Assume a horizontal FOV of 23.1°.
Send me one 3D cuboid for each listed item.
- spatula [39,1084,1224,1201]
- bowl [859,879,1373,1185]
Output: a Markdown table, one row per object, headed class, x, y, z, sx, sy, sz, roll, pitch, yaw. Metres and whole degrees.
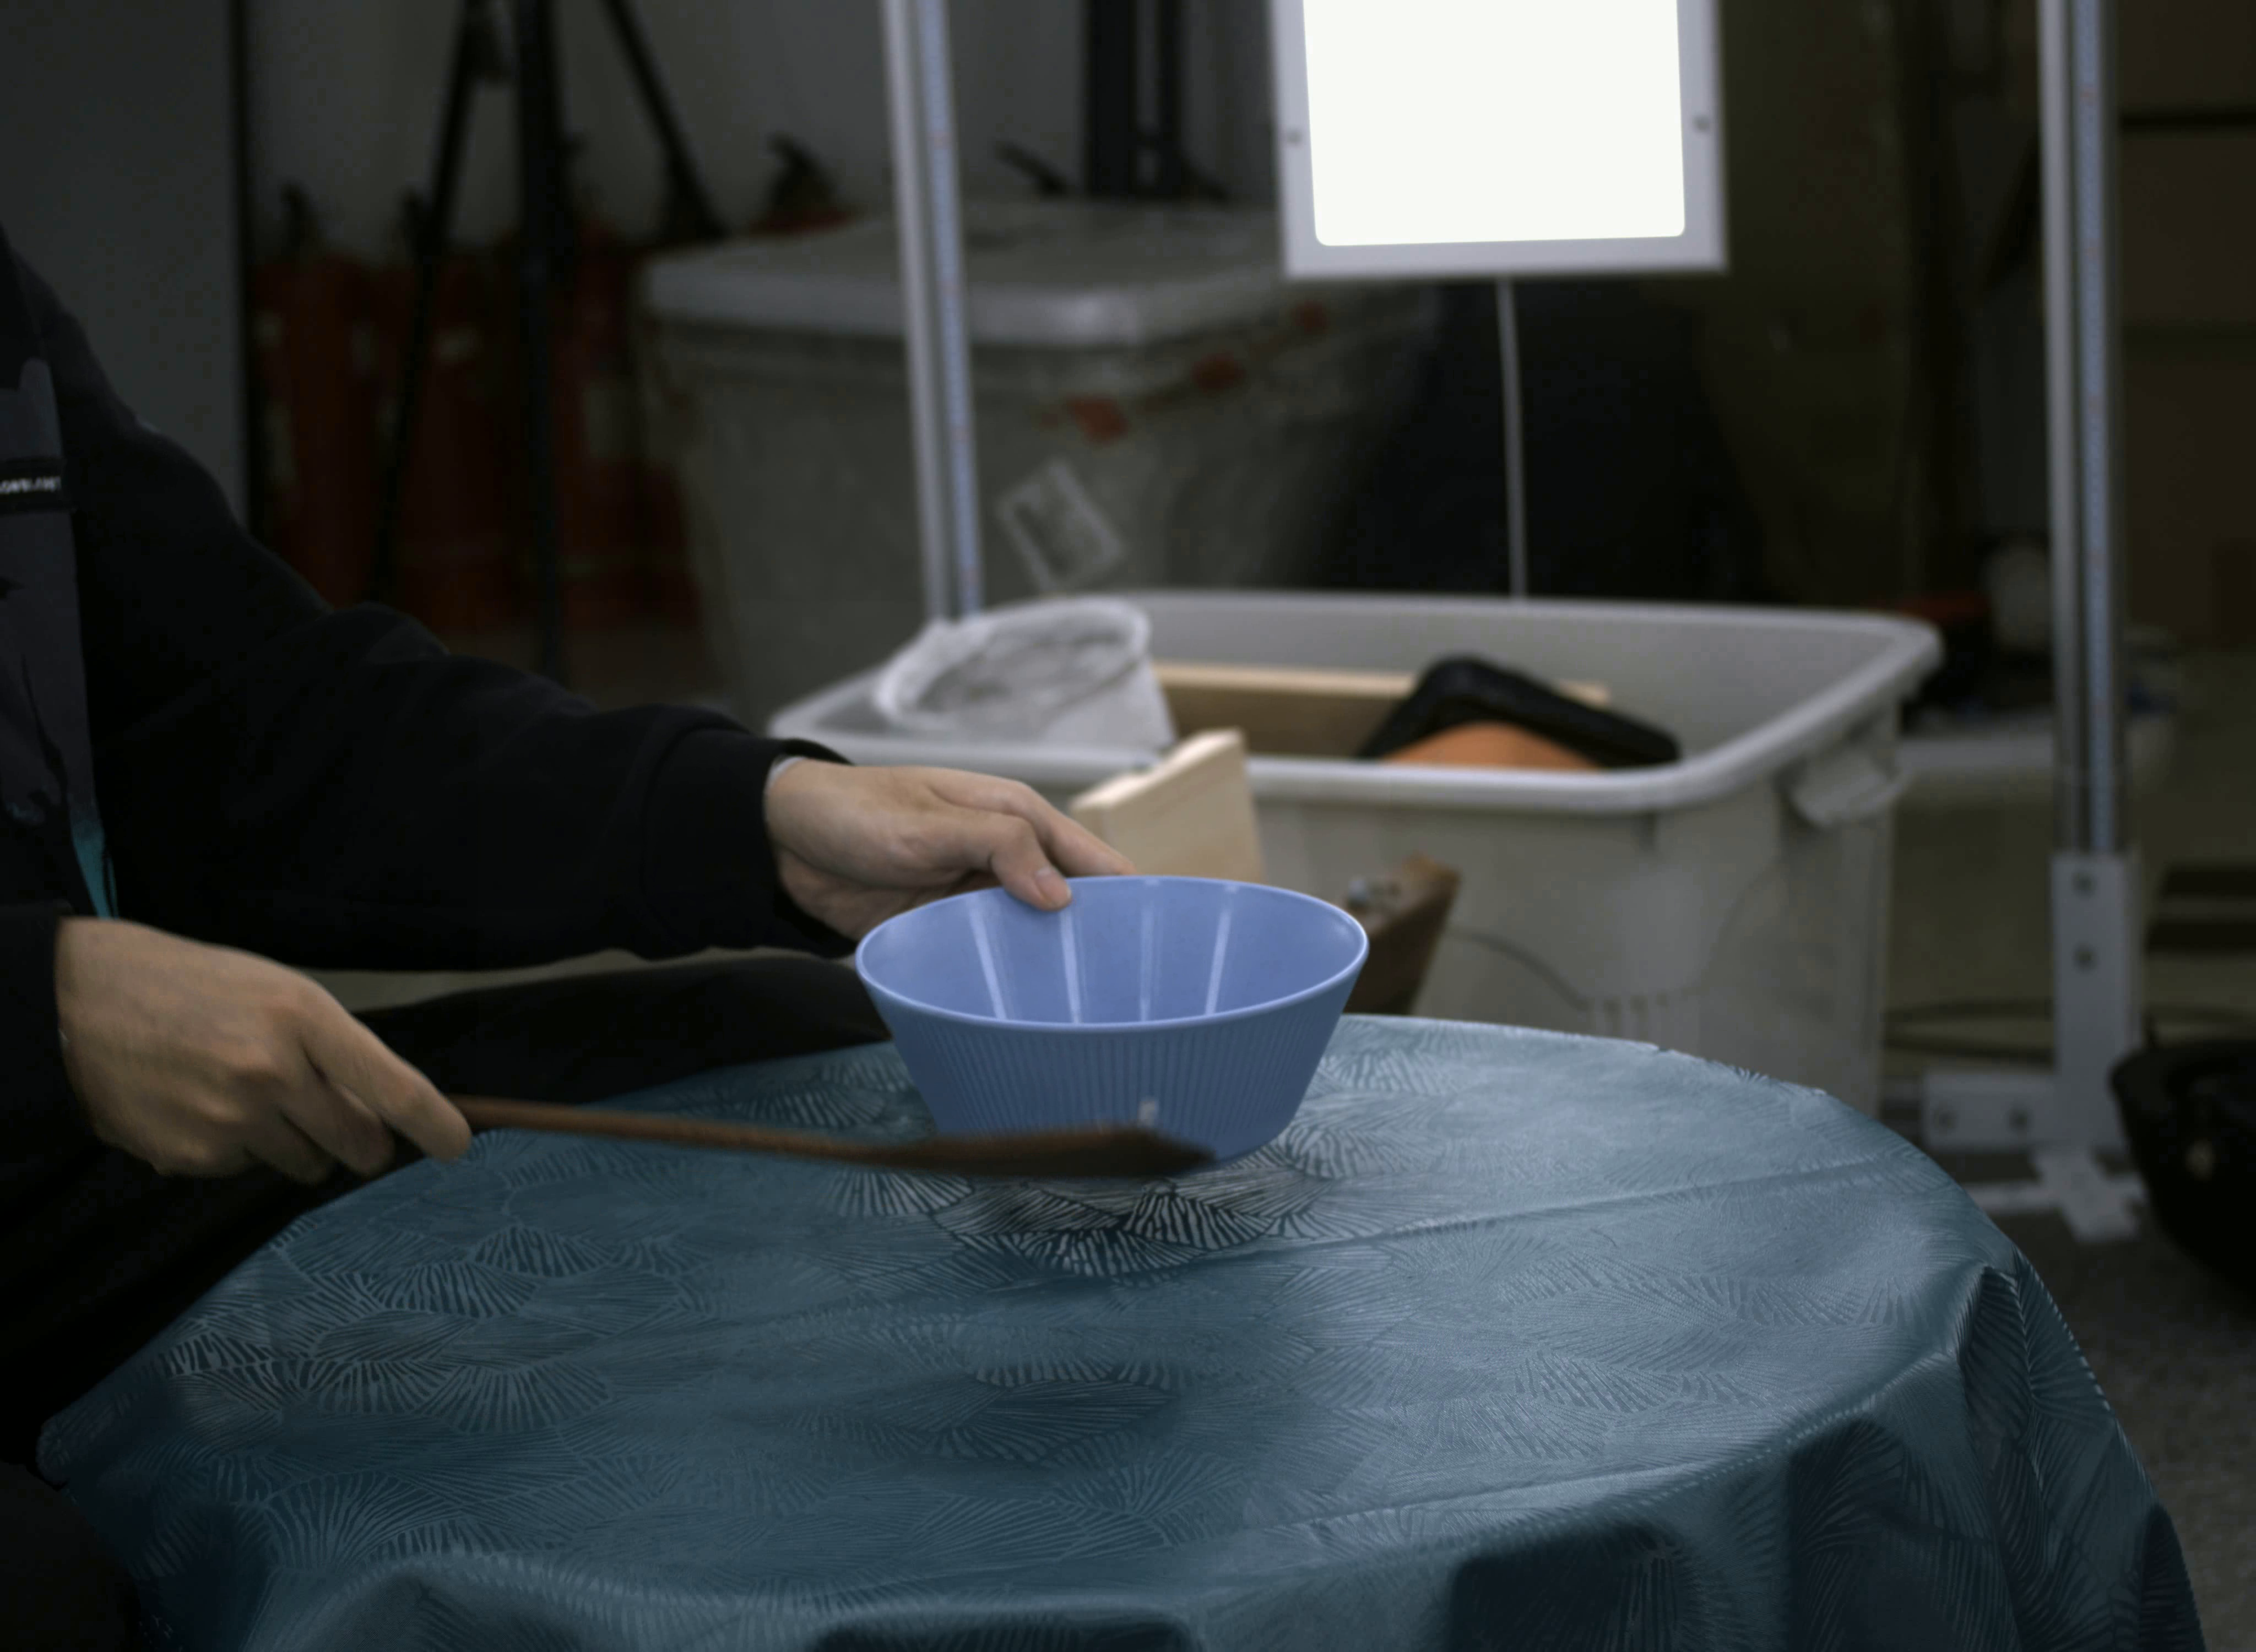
| class | x | y | z | sx | sy | sz | roll | pitch | yaw |
| --- | --- | --- | --- | --- | --- | --- | --- | --- | --- |
| spatula | -0.160 | 0.099 | 1.726 | 0.389 | 0.016 | 0.095 | 4 | -9 | 14 |
| bowl | -0.003 | 0.073 | 1.877 | 0.175 | 0.070 | 0.176 | -4 | 15 | 0 |
